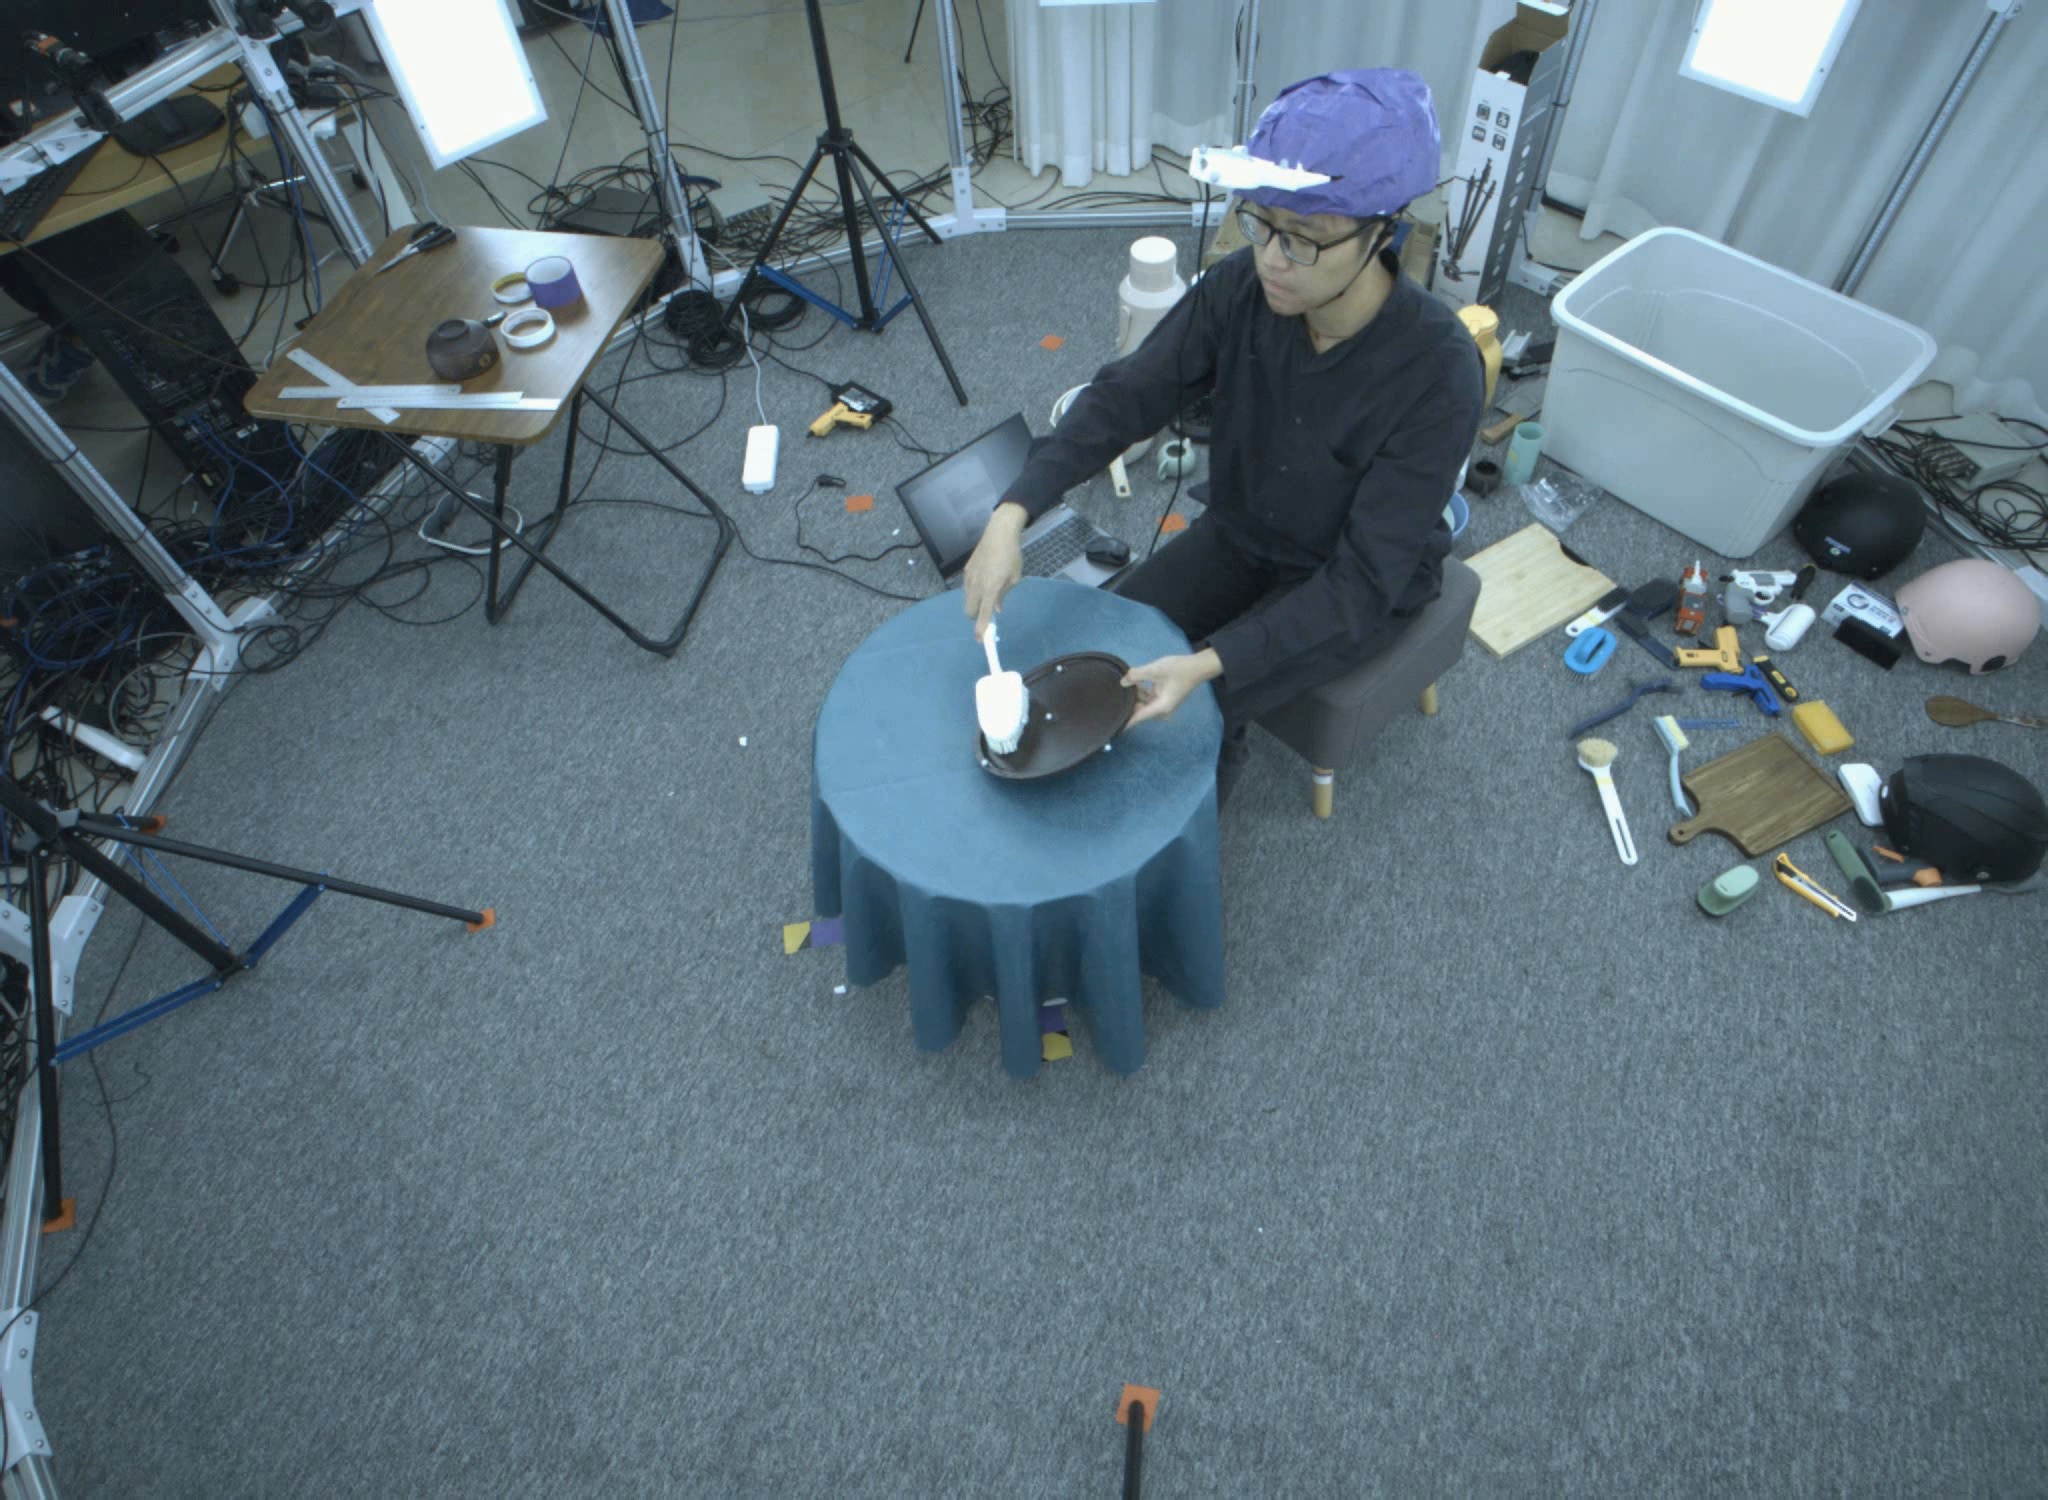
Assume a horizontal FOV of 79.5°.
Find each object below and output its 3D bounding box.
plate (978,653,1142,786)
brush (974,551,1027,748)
[{"bbox_3d":[0.051,-0.044,1.736,0.252,0.029,0.252,-19,37,17],"label":"plate"},{"bbox_3d":[-0.038,-0.146,1.806,0.084,0.084,0.322,7,61,-25],"label":"brush"}]
